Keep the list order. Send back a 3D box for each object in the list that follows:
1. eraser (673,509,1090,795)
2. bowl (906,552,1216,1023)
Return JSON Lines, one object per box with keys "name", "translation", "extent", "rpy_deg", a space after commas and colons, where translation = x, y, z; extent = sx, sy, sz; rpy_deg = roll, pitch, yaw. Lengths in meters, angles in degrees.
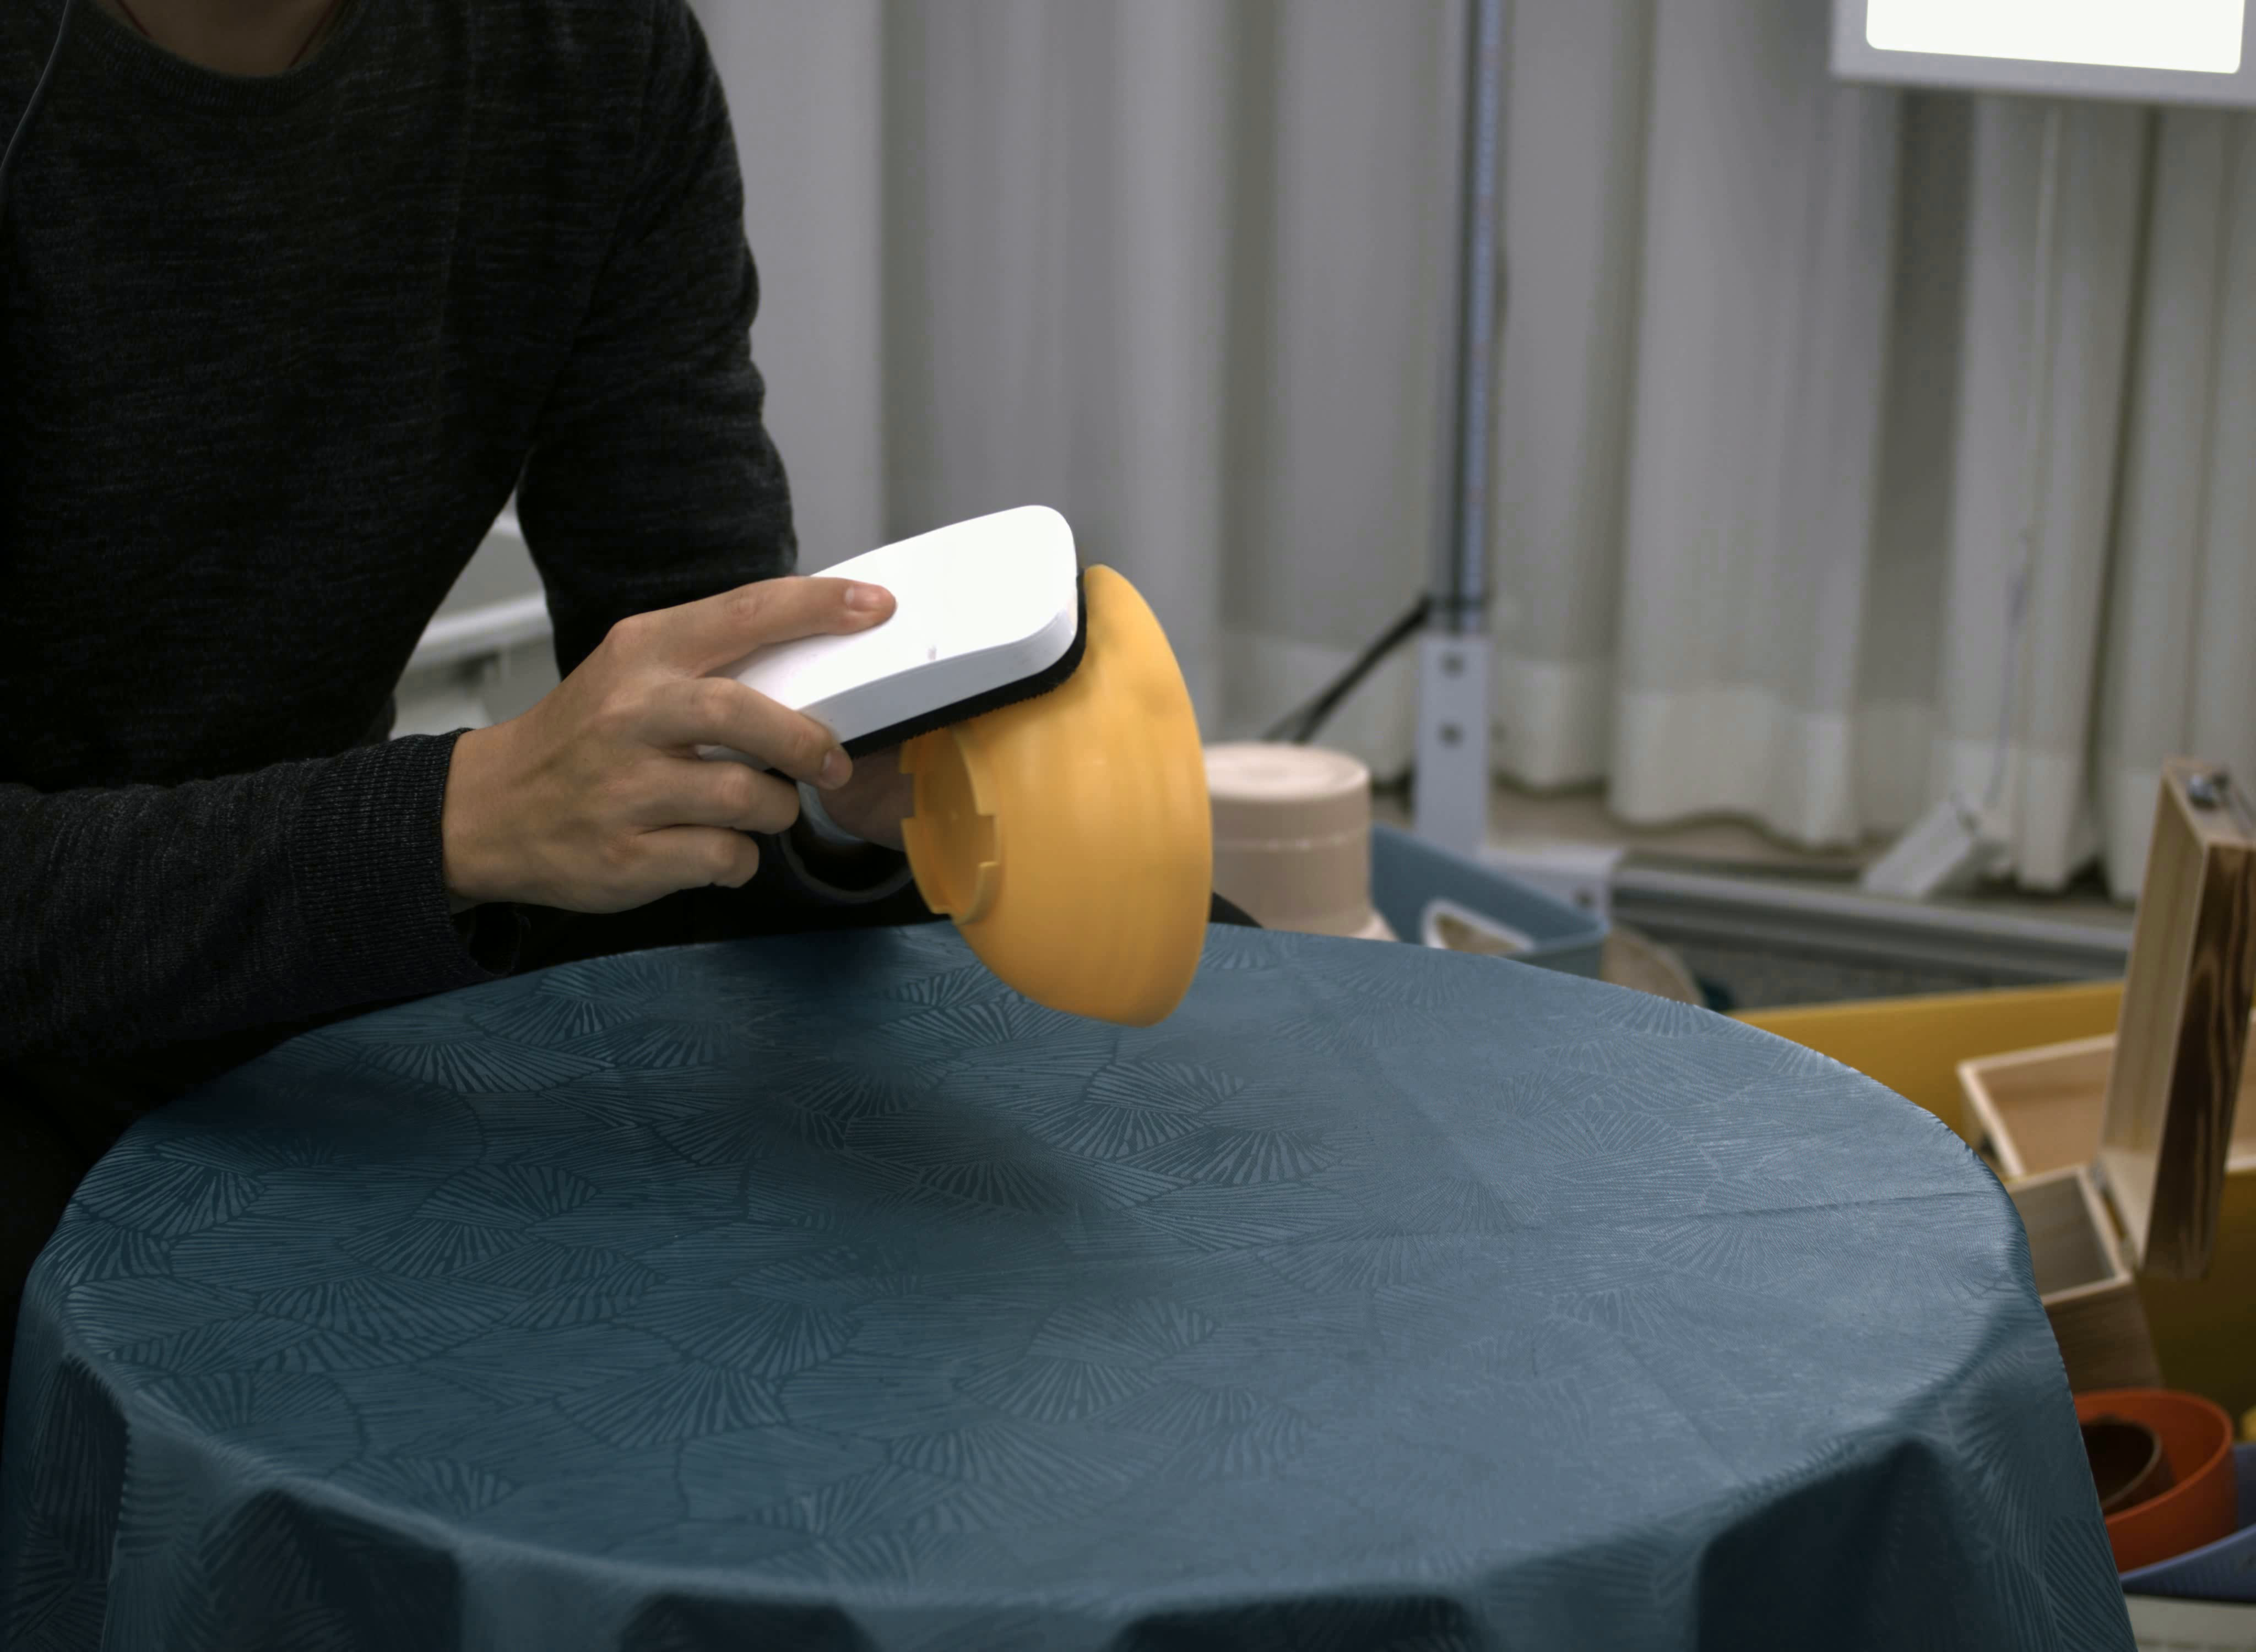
{"name": "eraser", "translation": [-0.074, -0.054, 1.574], "extent": [0.130, 0.035, 0.063], "rpy_deg": [-18, 40, 20]}
{"name": "bowl", "translation": [-0.029, -0.008, 1.600], "extent": [0.060, 0.146, 0.143], "rpy_deg": [-8, 18, -23]}
